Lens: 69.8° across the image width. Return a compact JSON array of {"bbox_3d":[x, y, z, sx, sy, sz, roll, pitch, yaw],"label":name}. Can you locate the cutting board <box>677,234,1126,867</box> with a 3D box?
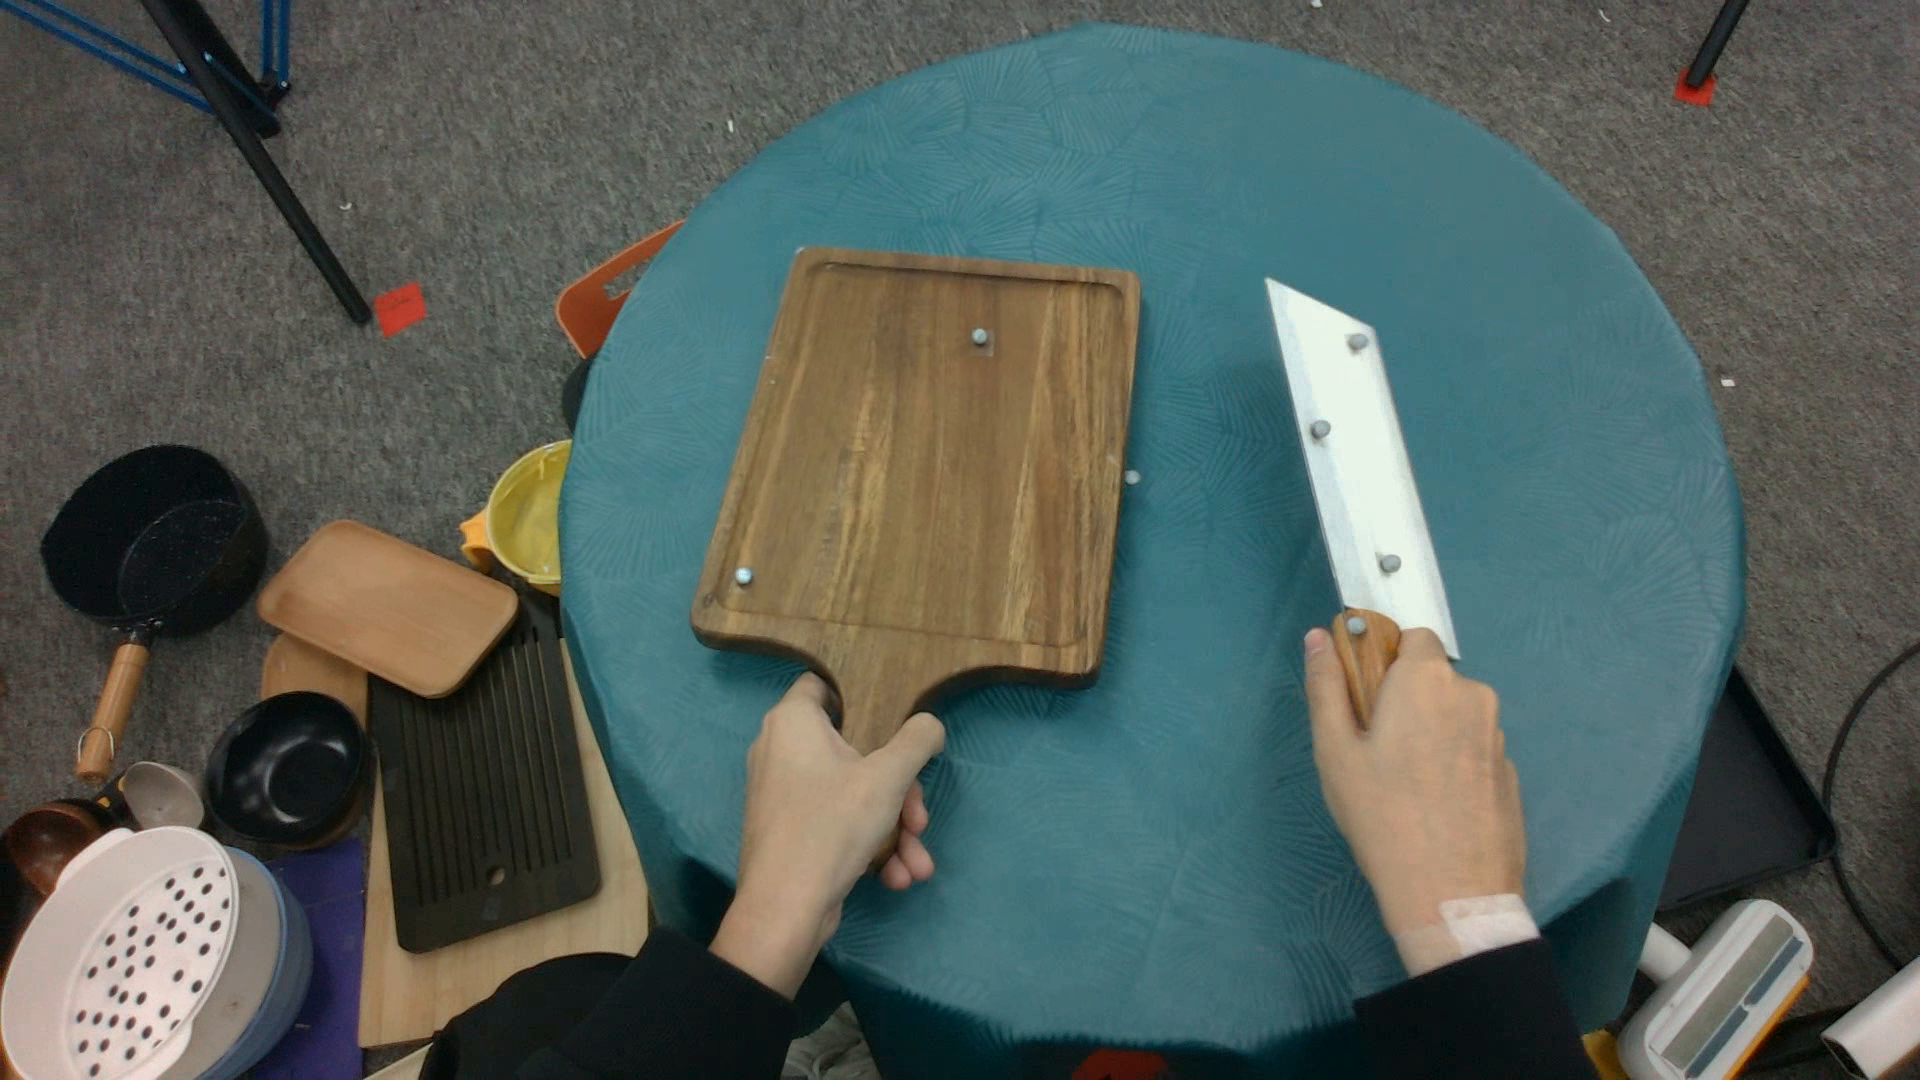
[{"bbox_3d":[-0.027,-0.013,0.676,0.201,0.023,0.354,5,58,6],"label":"cutting board"}]

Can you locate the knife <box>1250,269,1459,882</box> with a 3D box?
[{"bbox_3d":[0.192,0.007,0.641,0.093,0.021,0.307,15,57,-38],"label":"knife"}]
